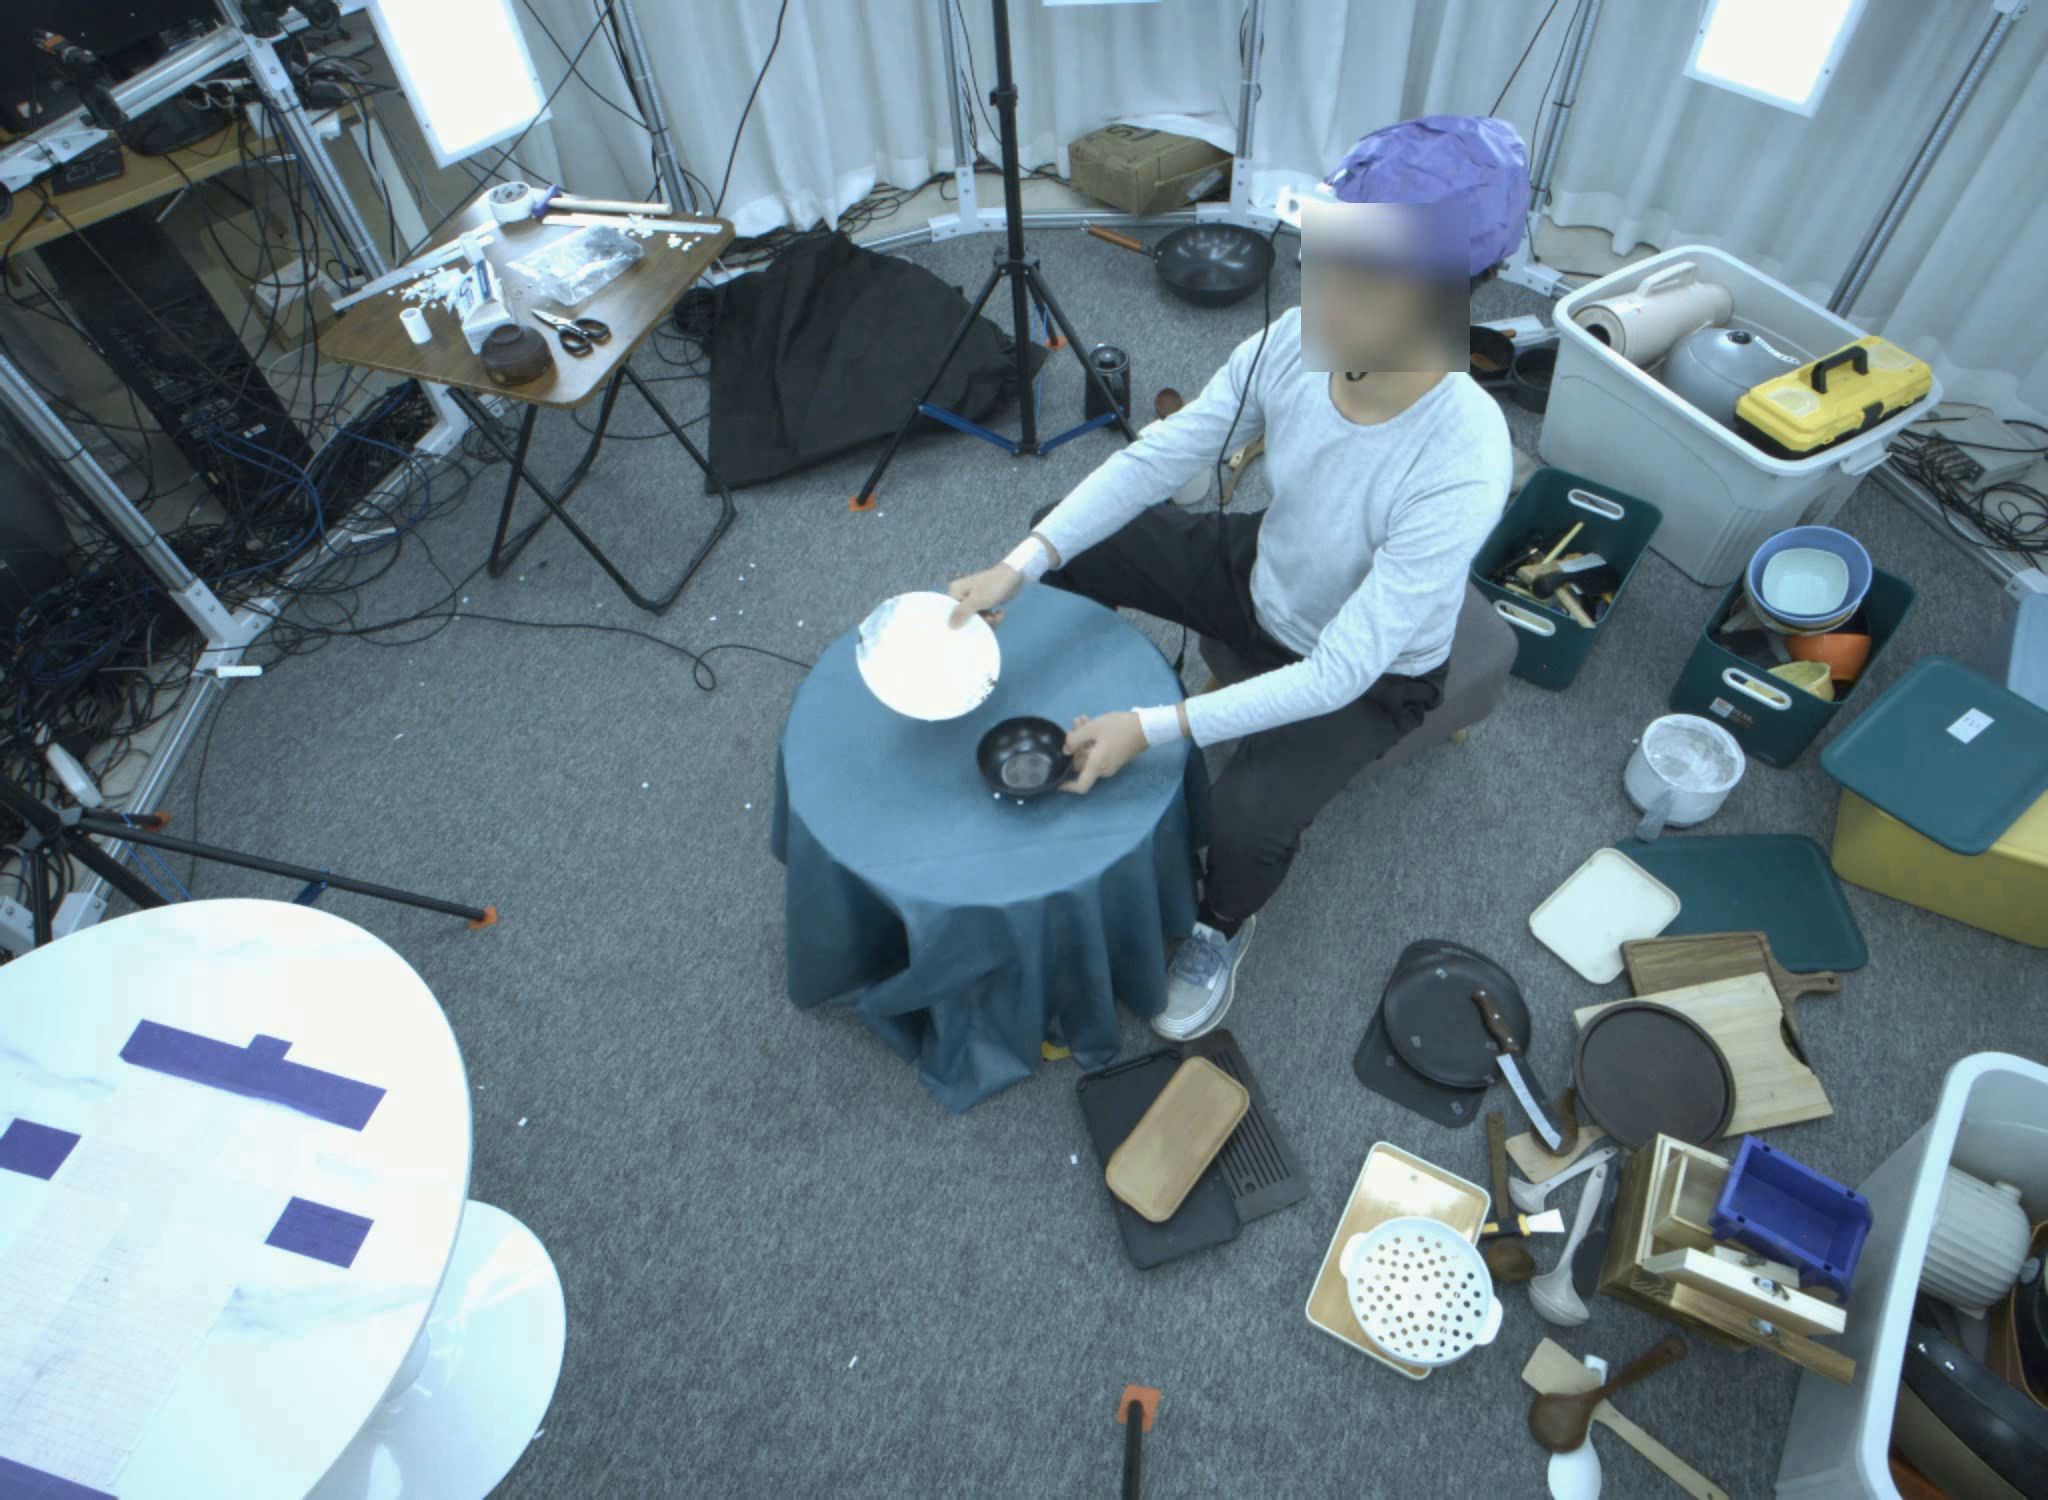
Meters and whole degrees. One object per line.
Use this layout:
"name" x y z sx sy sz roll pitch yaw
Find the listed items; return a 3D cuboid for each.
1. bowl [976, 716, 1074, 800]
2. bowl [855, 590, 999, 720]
"bowl" 0.001 0.020 1.753 0.140 0.050 0.138 3 54 -2
"bowl" -0.144 -0.121 1.742 0.206 0.077 0.202 7 66 -15
